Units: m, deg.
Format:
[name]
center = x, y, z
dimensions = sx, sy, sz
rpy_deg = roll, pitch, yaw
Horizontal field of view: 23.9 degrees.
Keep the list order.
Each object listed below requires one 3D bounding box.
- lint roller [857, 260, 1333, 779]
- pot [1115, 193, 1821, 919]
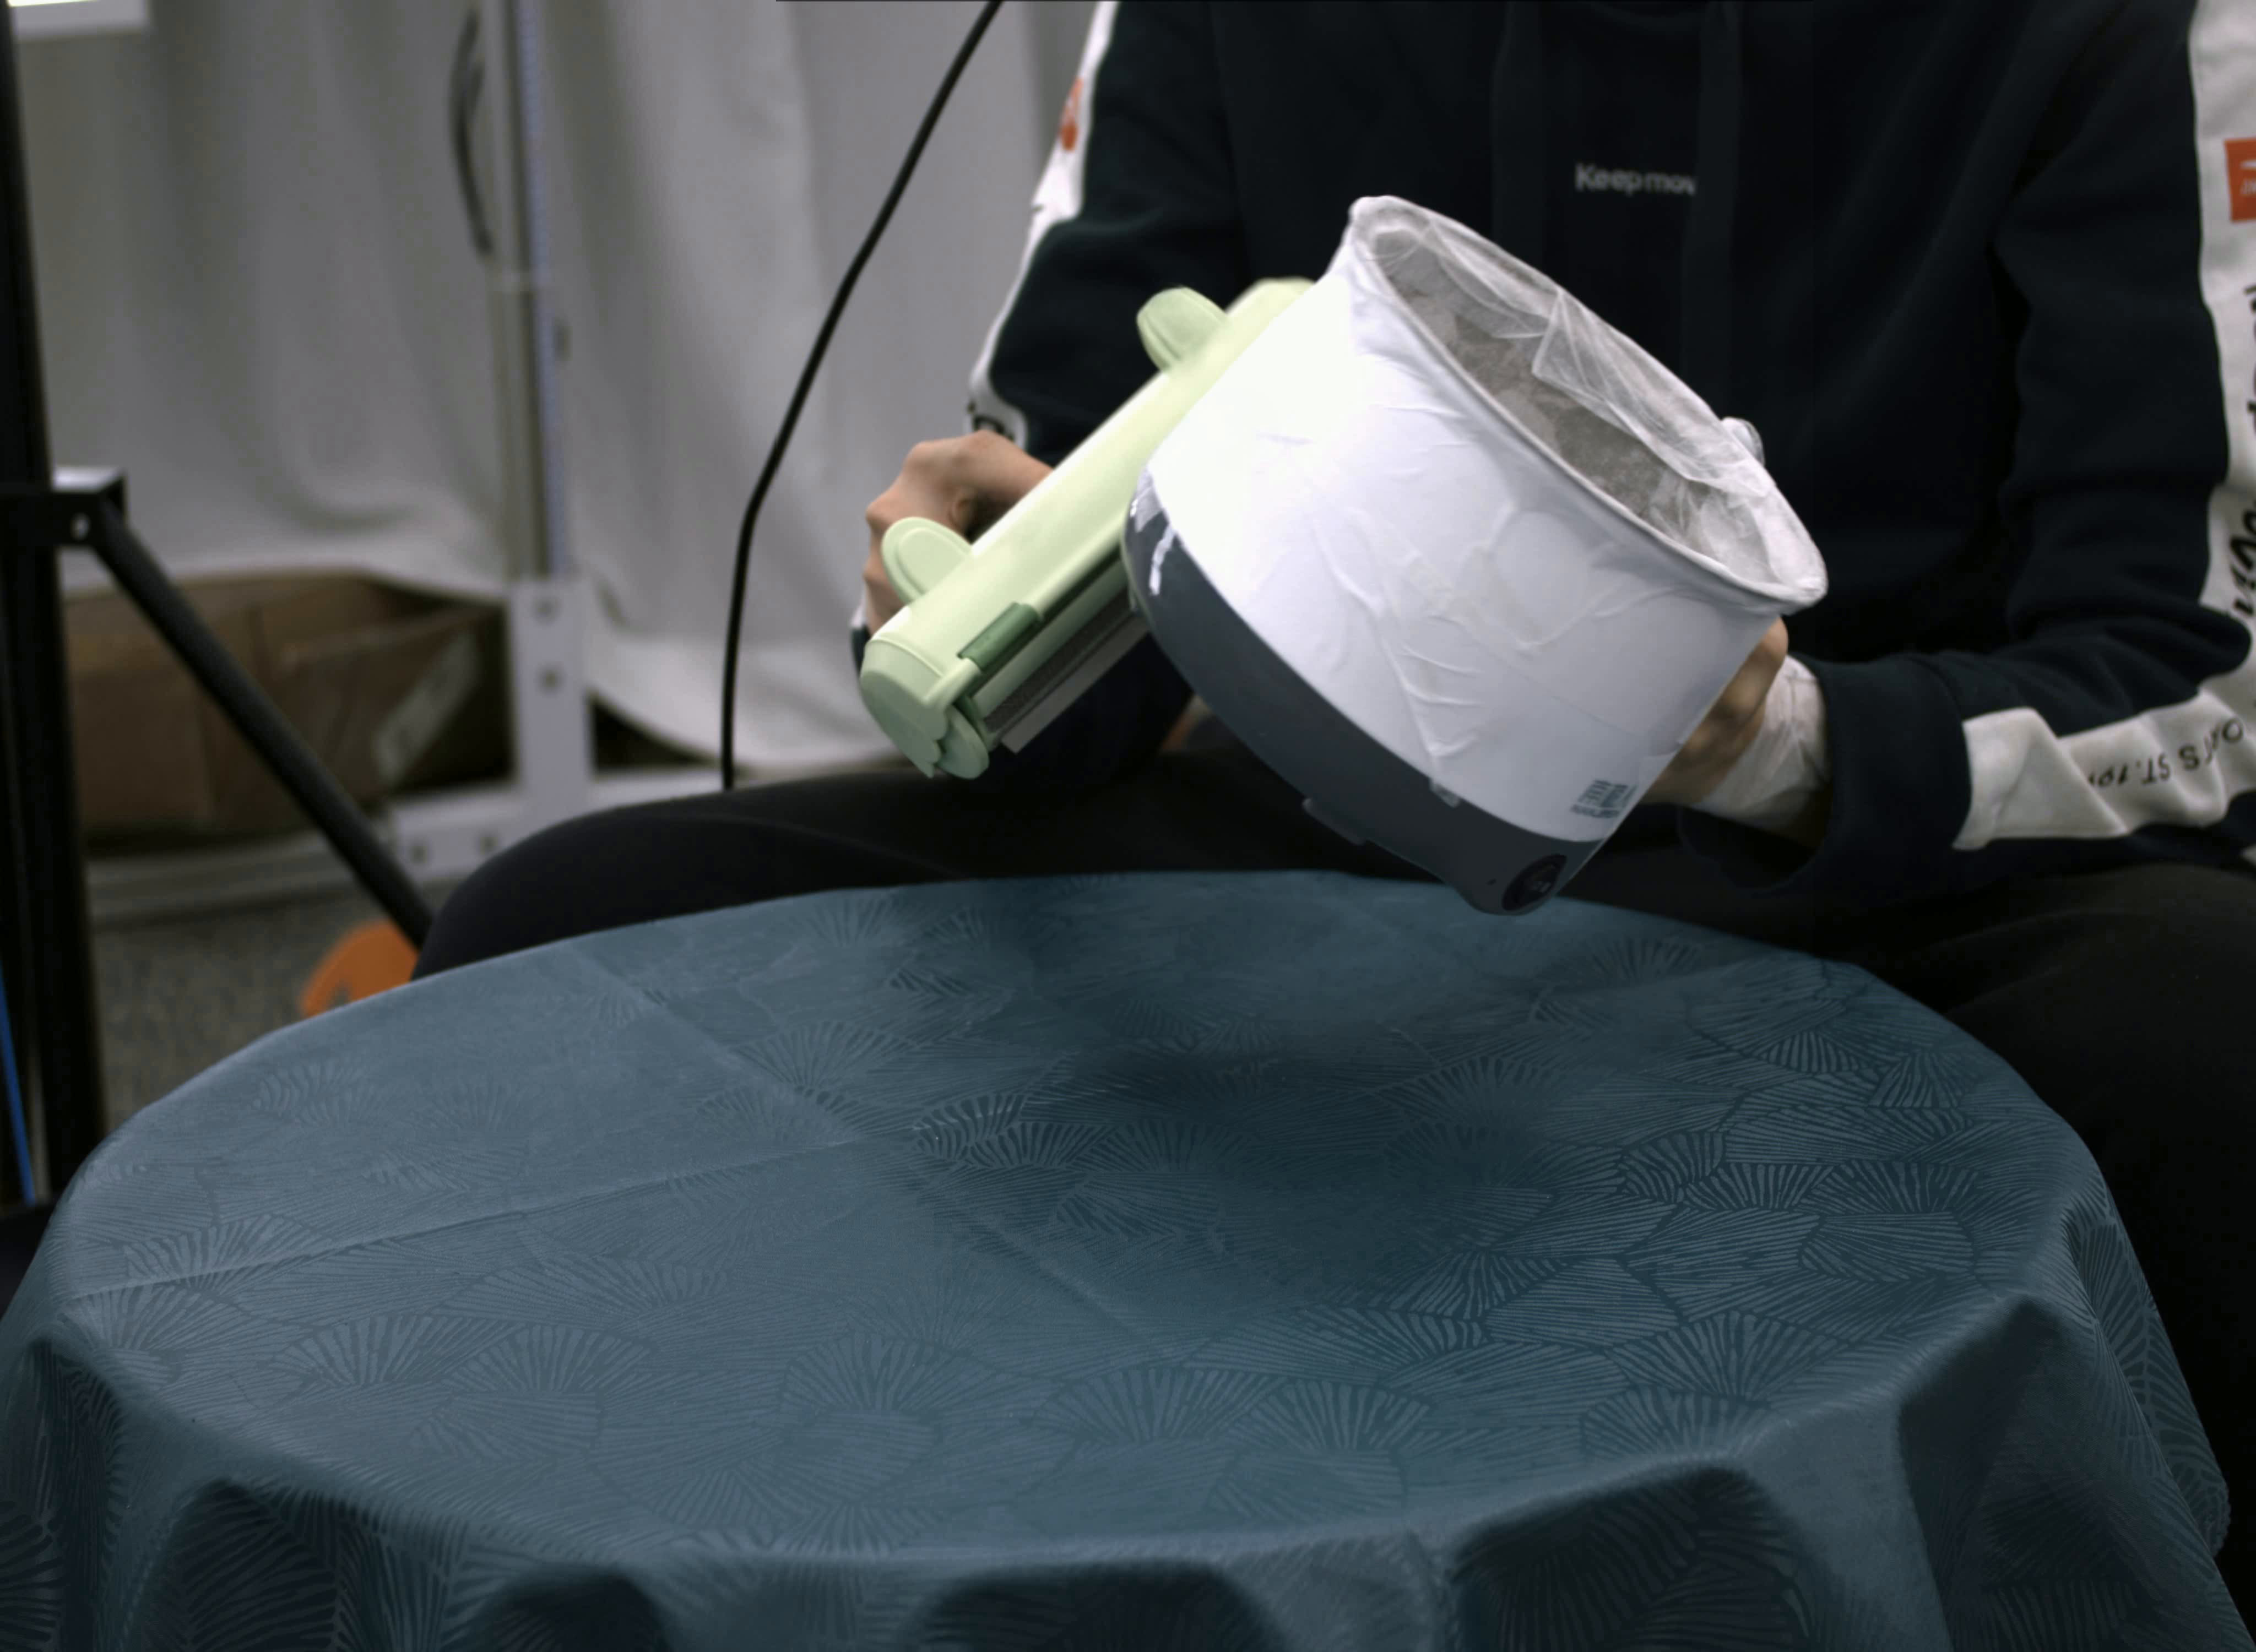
[lint roller]
center = -0.031, -0.103, 1.707
dimensions = 0.197, 0.081, 0.186
rpy_deg = -45, 19, -17
[pot]
center = 0.110, -0.077, 1.584
dimensions = 0.182, 0.137, 0.228
rpy_deg = 49, 23, 26
